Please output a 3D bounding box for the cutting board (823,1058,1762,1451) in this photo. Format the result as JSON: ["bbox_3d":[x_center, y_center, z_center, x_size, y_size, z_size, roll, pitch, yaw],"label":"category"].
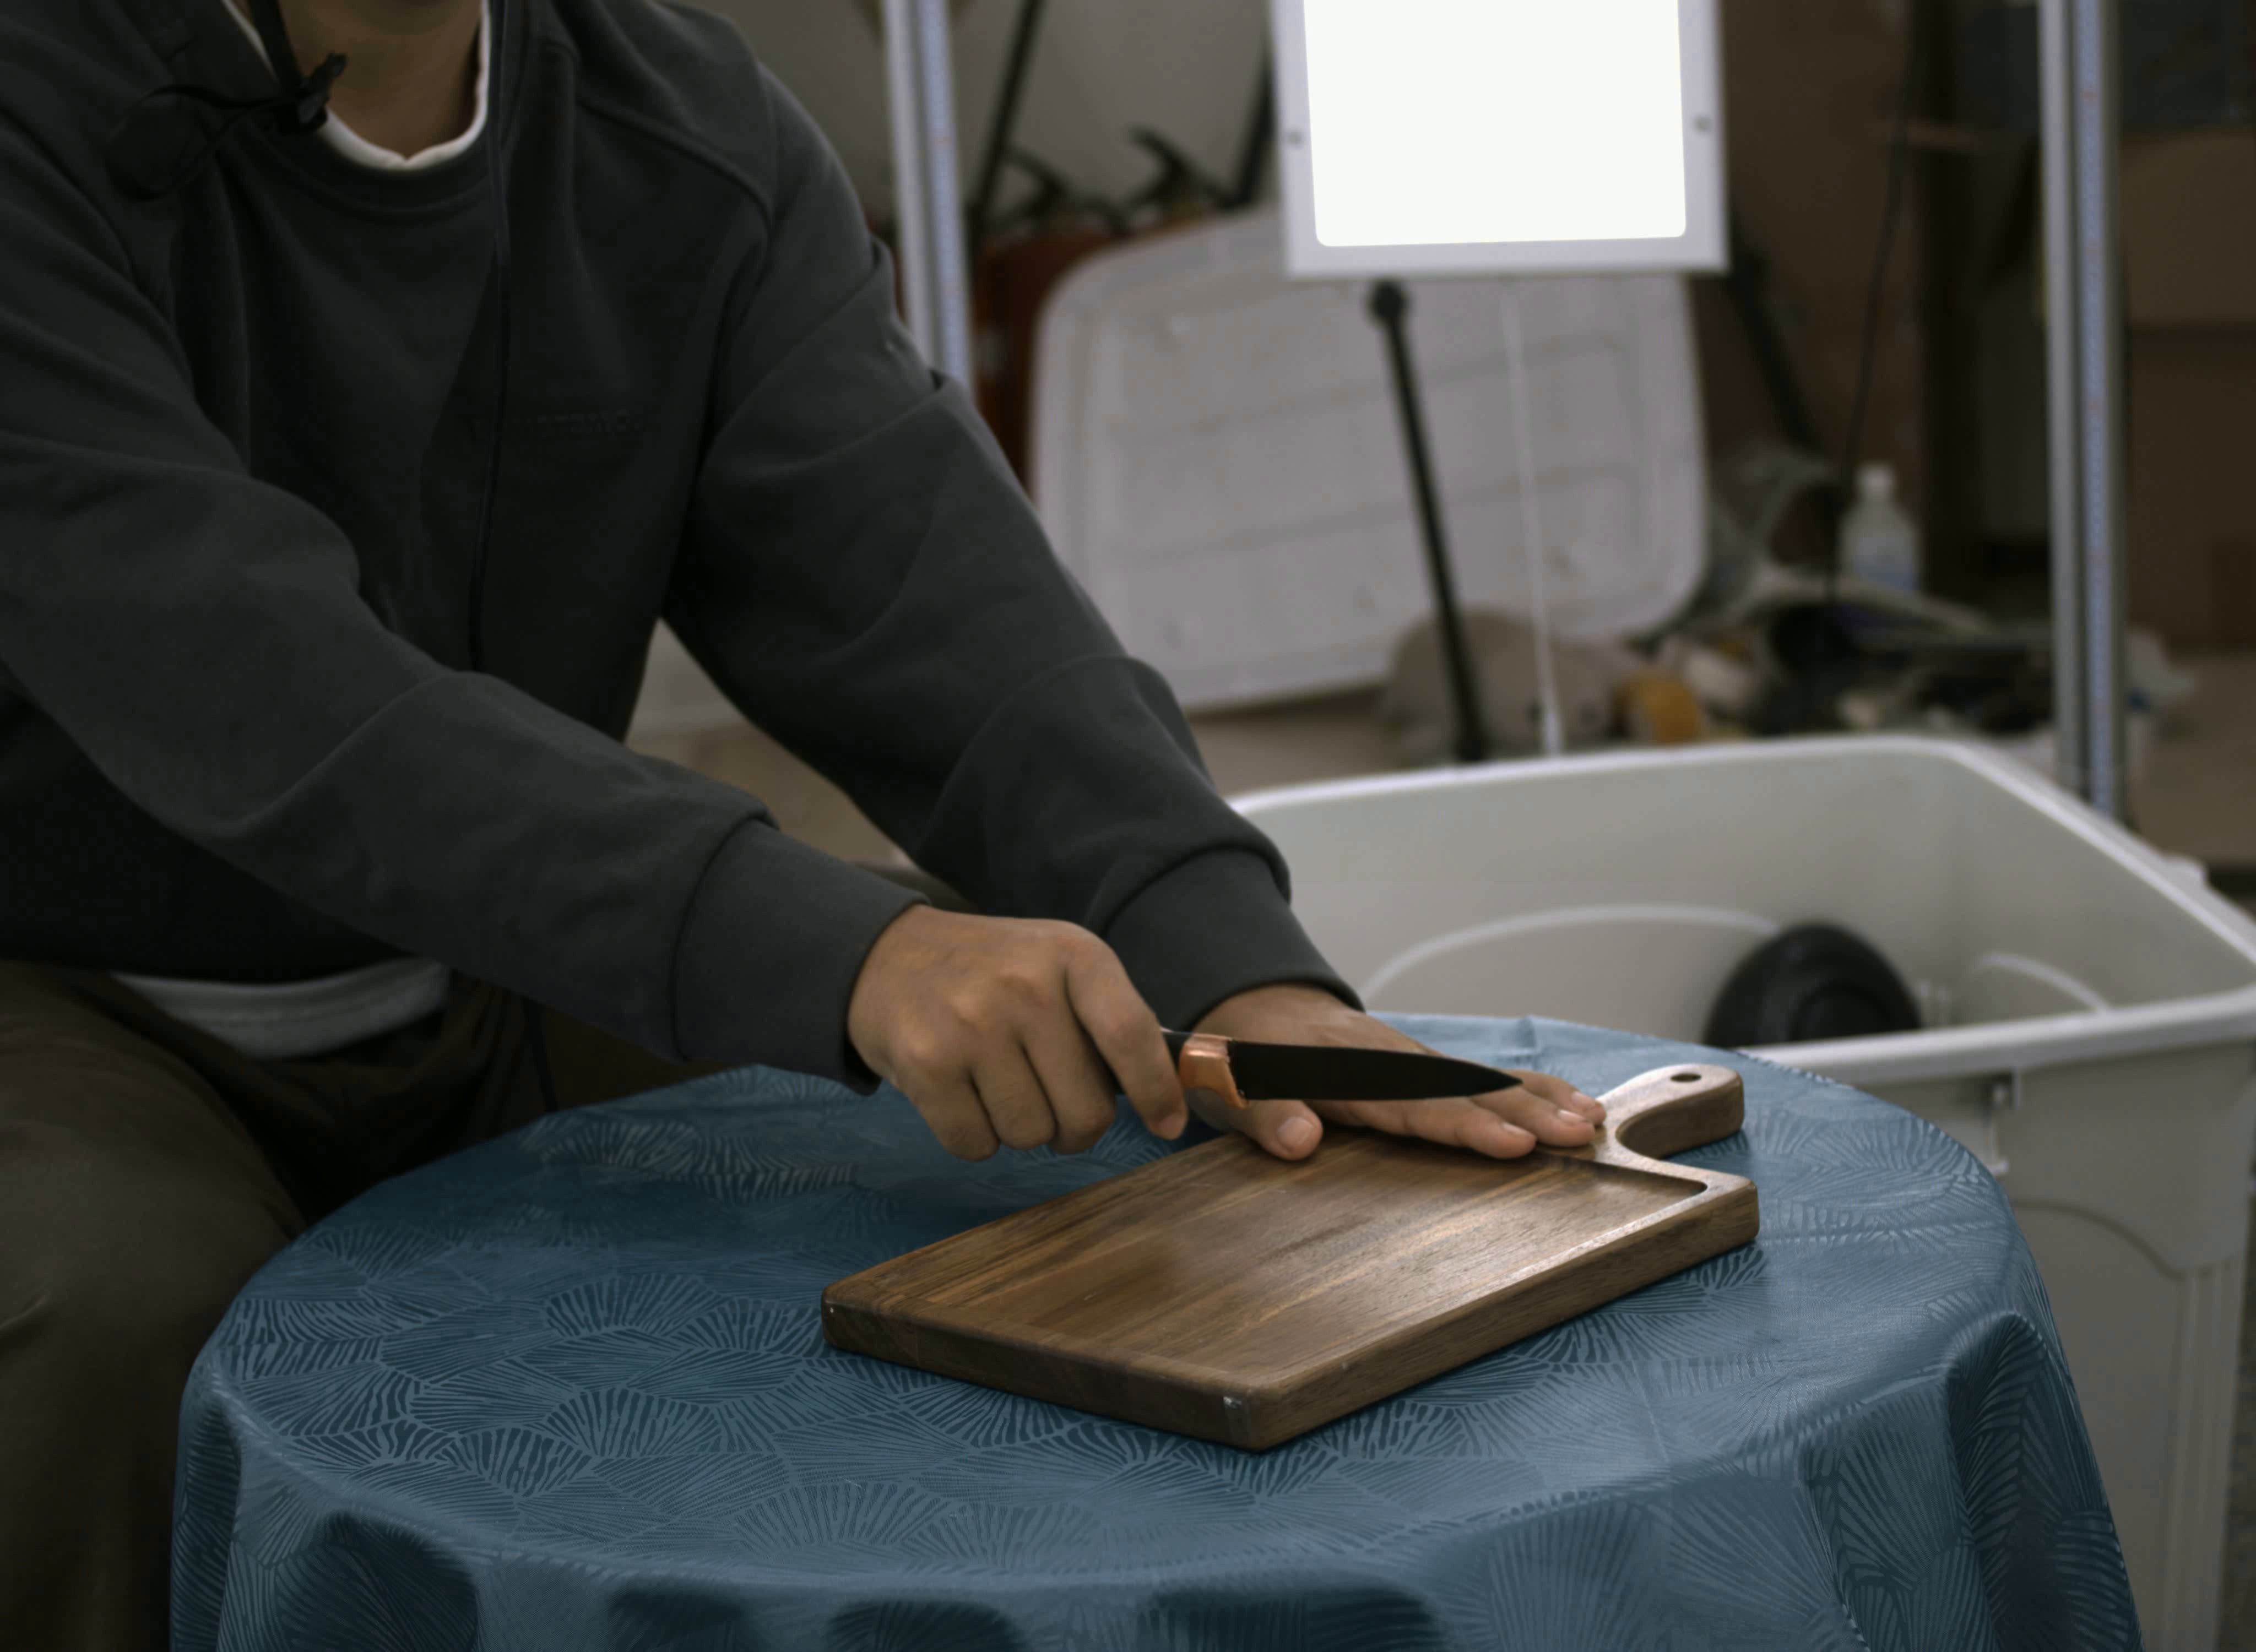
[{"bbox_3d":[0.089,0.129,1.809,0.343,0.023,0.205,-17,18,-42],"label":"cutting board"}]

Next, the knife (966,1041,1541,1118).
[{"bbox_3d":[0.038,0.083,1.810,0.230,0.026,0.017,-1,27,38],"label":"knife"}]
